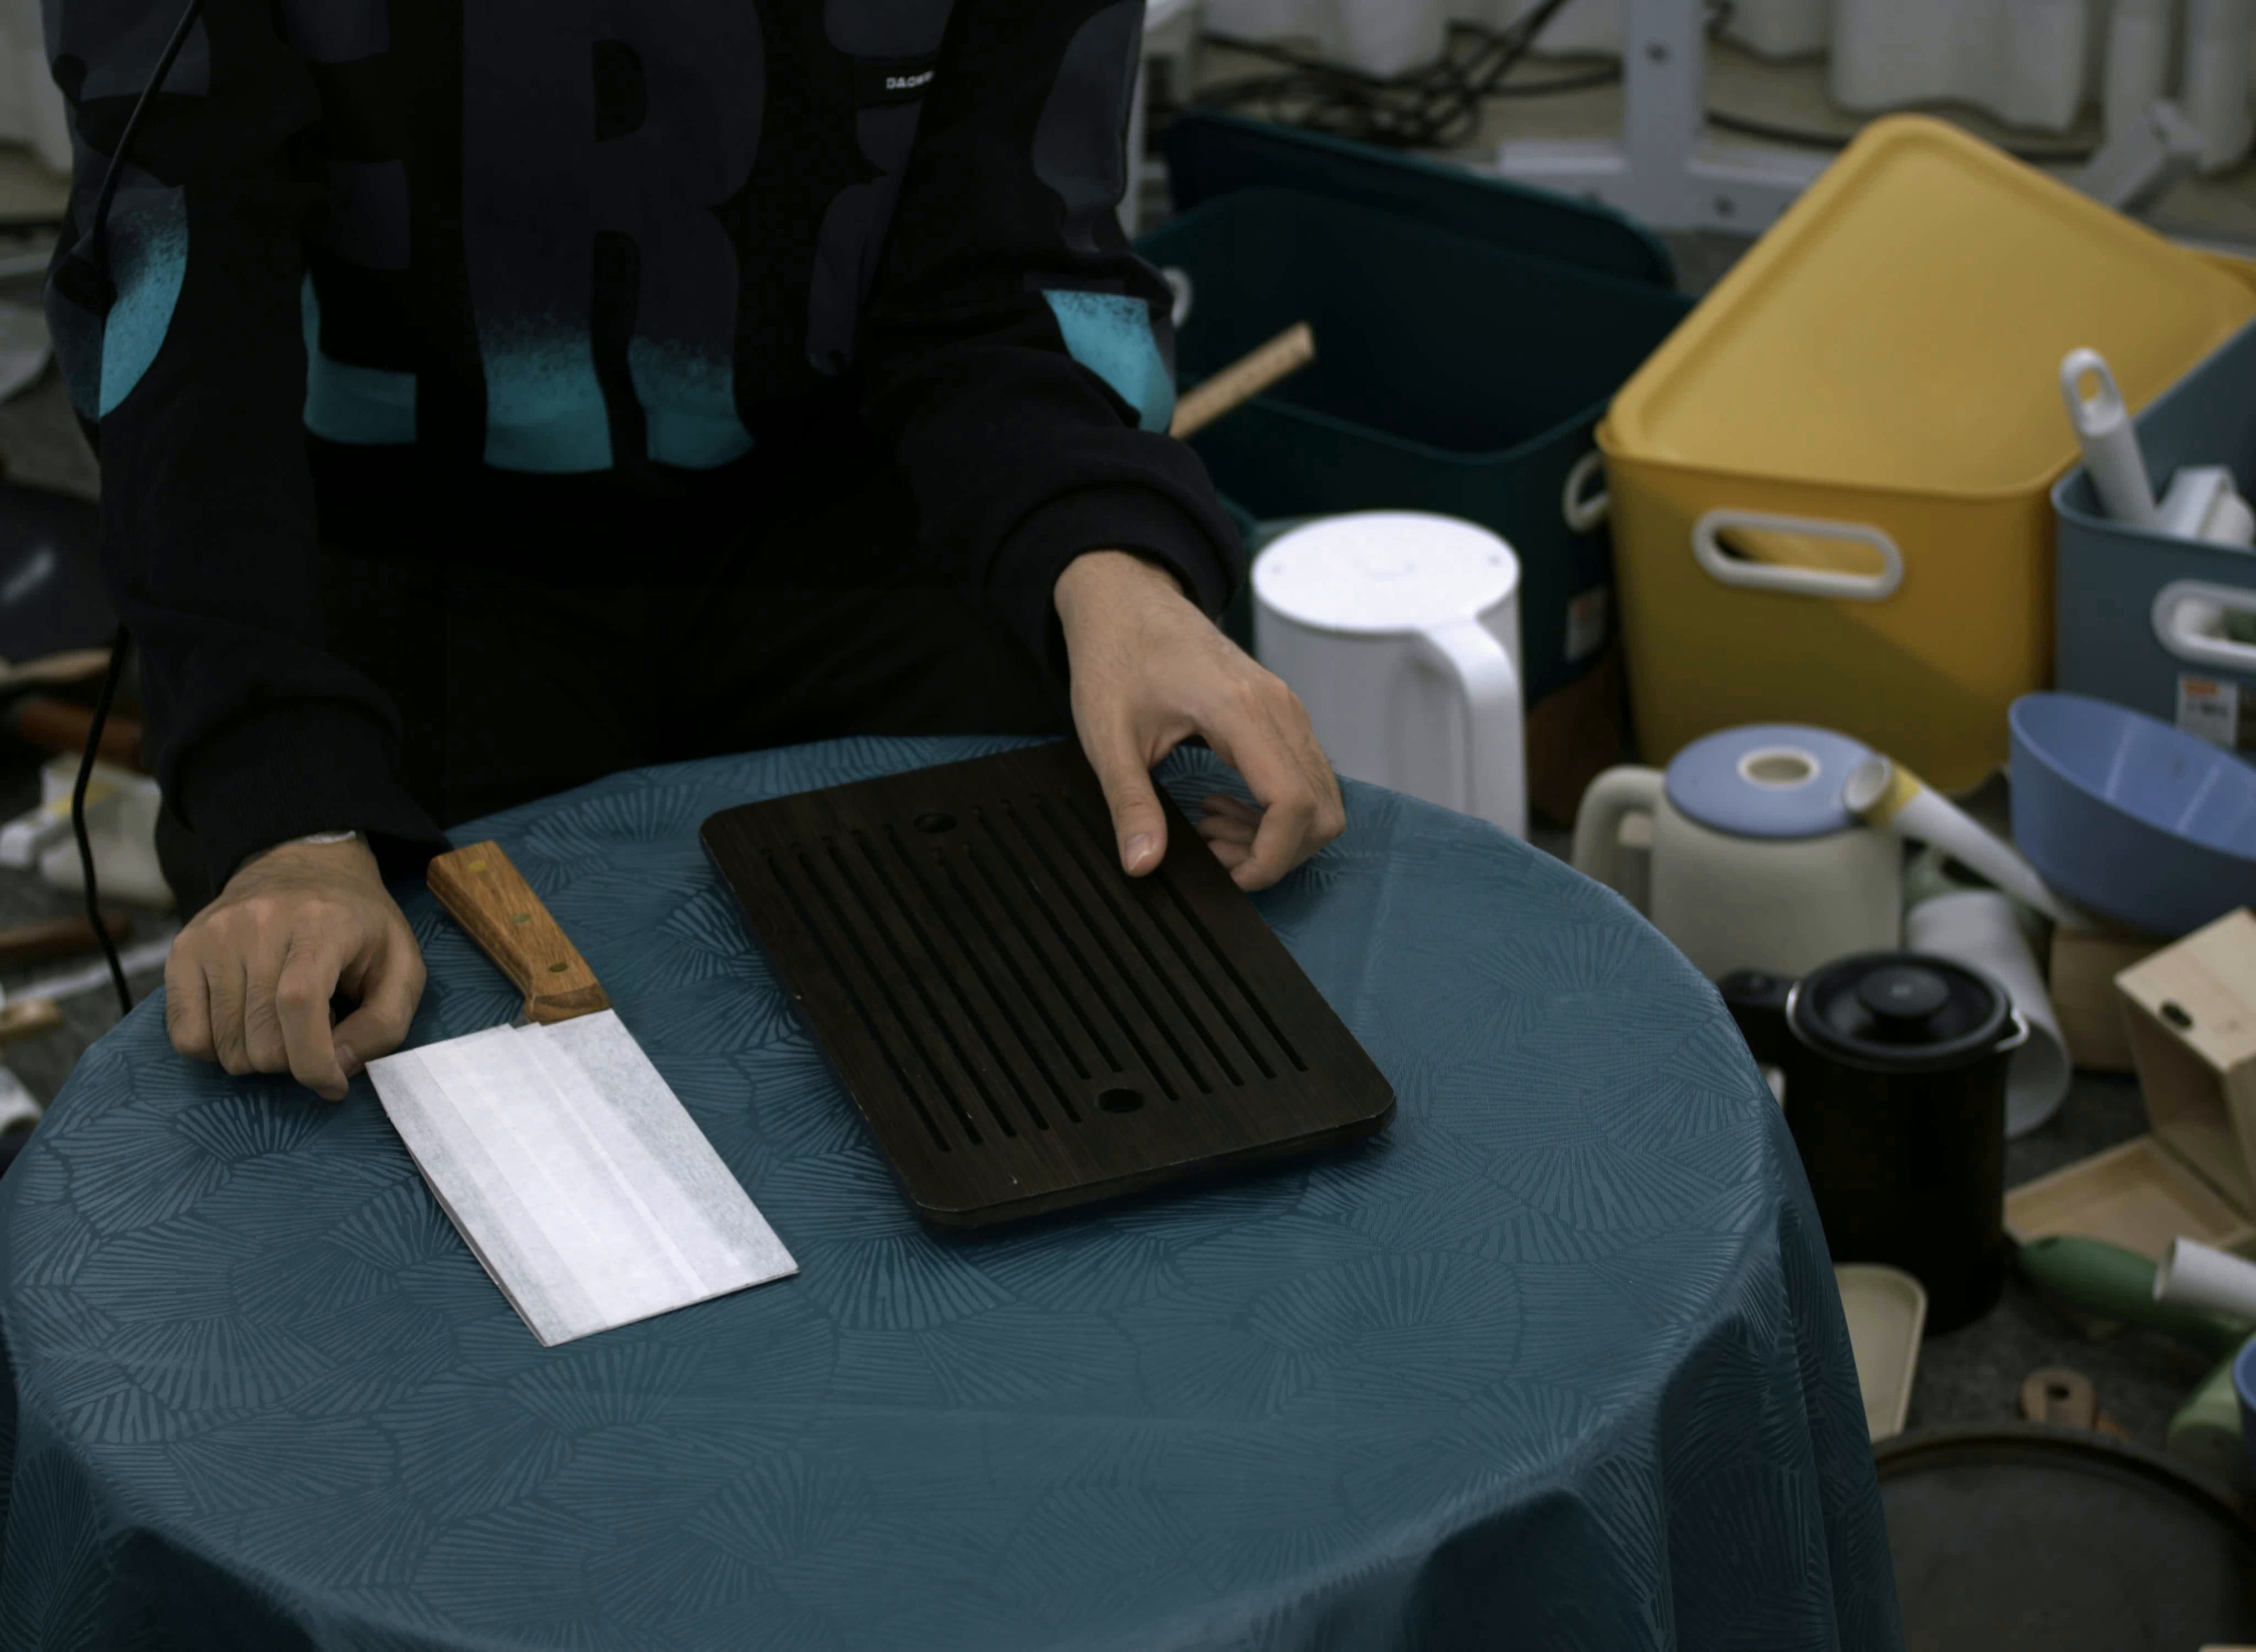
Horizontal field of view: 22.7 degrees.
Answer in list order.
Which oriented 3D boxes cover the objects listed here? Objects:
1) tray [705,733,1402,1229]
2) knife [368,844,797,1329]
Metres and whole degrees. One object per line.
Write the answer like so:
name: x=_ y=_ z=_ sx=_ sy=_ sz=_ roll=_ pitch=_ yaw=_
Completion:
tray: x=-0.032 y=0.051 z=1.980 sx=0.170 sy=0.018 sz=0.309 roll=-11 pitch=29 yaw=-15
knife: x=-0.208 y=0.089 z=1.930 sx=0.093 sy=0.021 sz=0.308 roll=-16 pitch=32 yaw=-19
